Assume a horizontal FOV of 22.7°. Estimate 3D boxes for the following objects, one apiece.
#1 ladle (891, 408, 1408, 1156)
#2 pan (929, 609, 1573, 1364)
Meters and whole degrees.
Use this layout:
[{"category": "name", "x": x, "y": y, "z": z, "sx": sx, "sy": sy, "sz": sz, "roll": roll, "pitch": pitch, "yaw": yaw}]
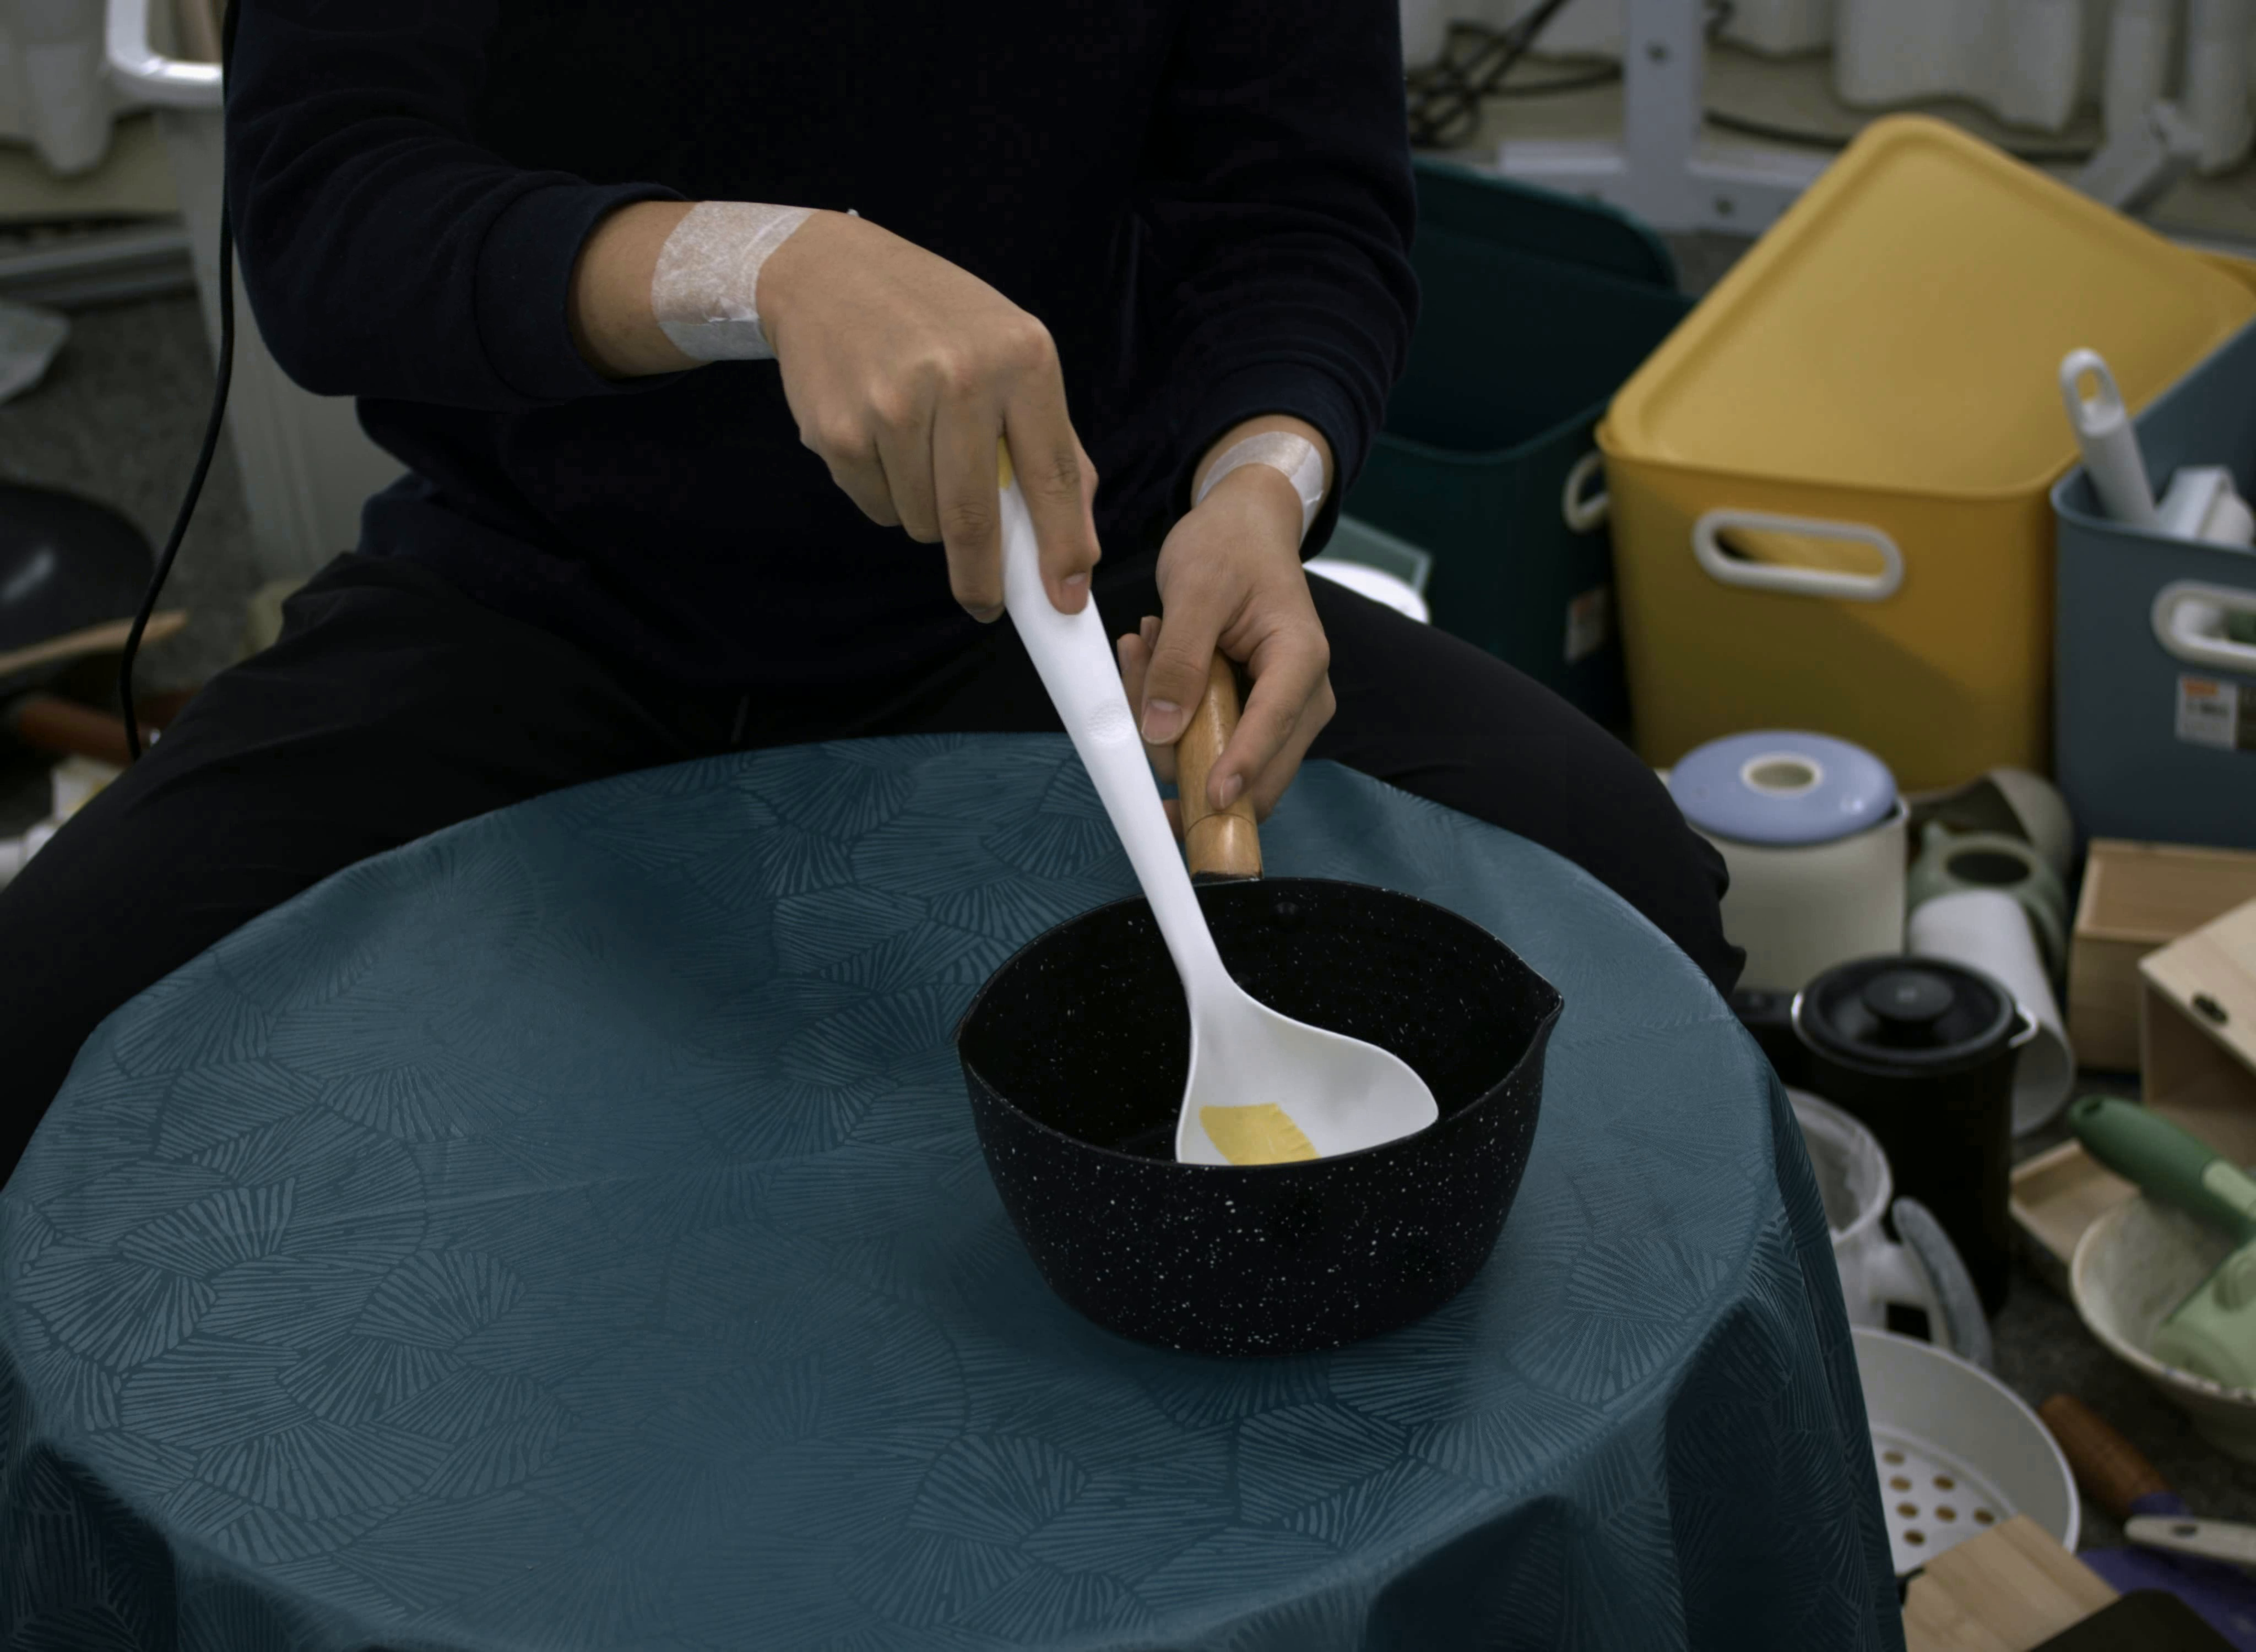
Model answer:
[{"category": "ladle", "x": -0.001, "y": 0.002, "z": 1.825, "sx": 0.090, "sy": 0.293, "sz": 0.070, "roll": -25, "pitch": 3, "yaw": -9}, {"category": "pan", "x": 0.035, "y": 0.050, "z": 1.881, "sx": 0.207, "sy": 0.107, "sz": 0.348, "roll": -6, "pitch": 29, "yaw": -3}]
